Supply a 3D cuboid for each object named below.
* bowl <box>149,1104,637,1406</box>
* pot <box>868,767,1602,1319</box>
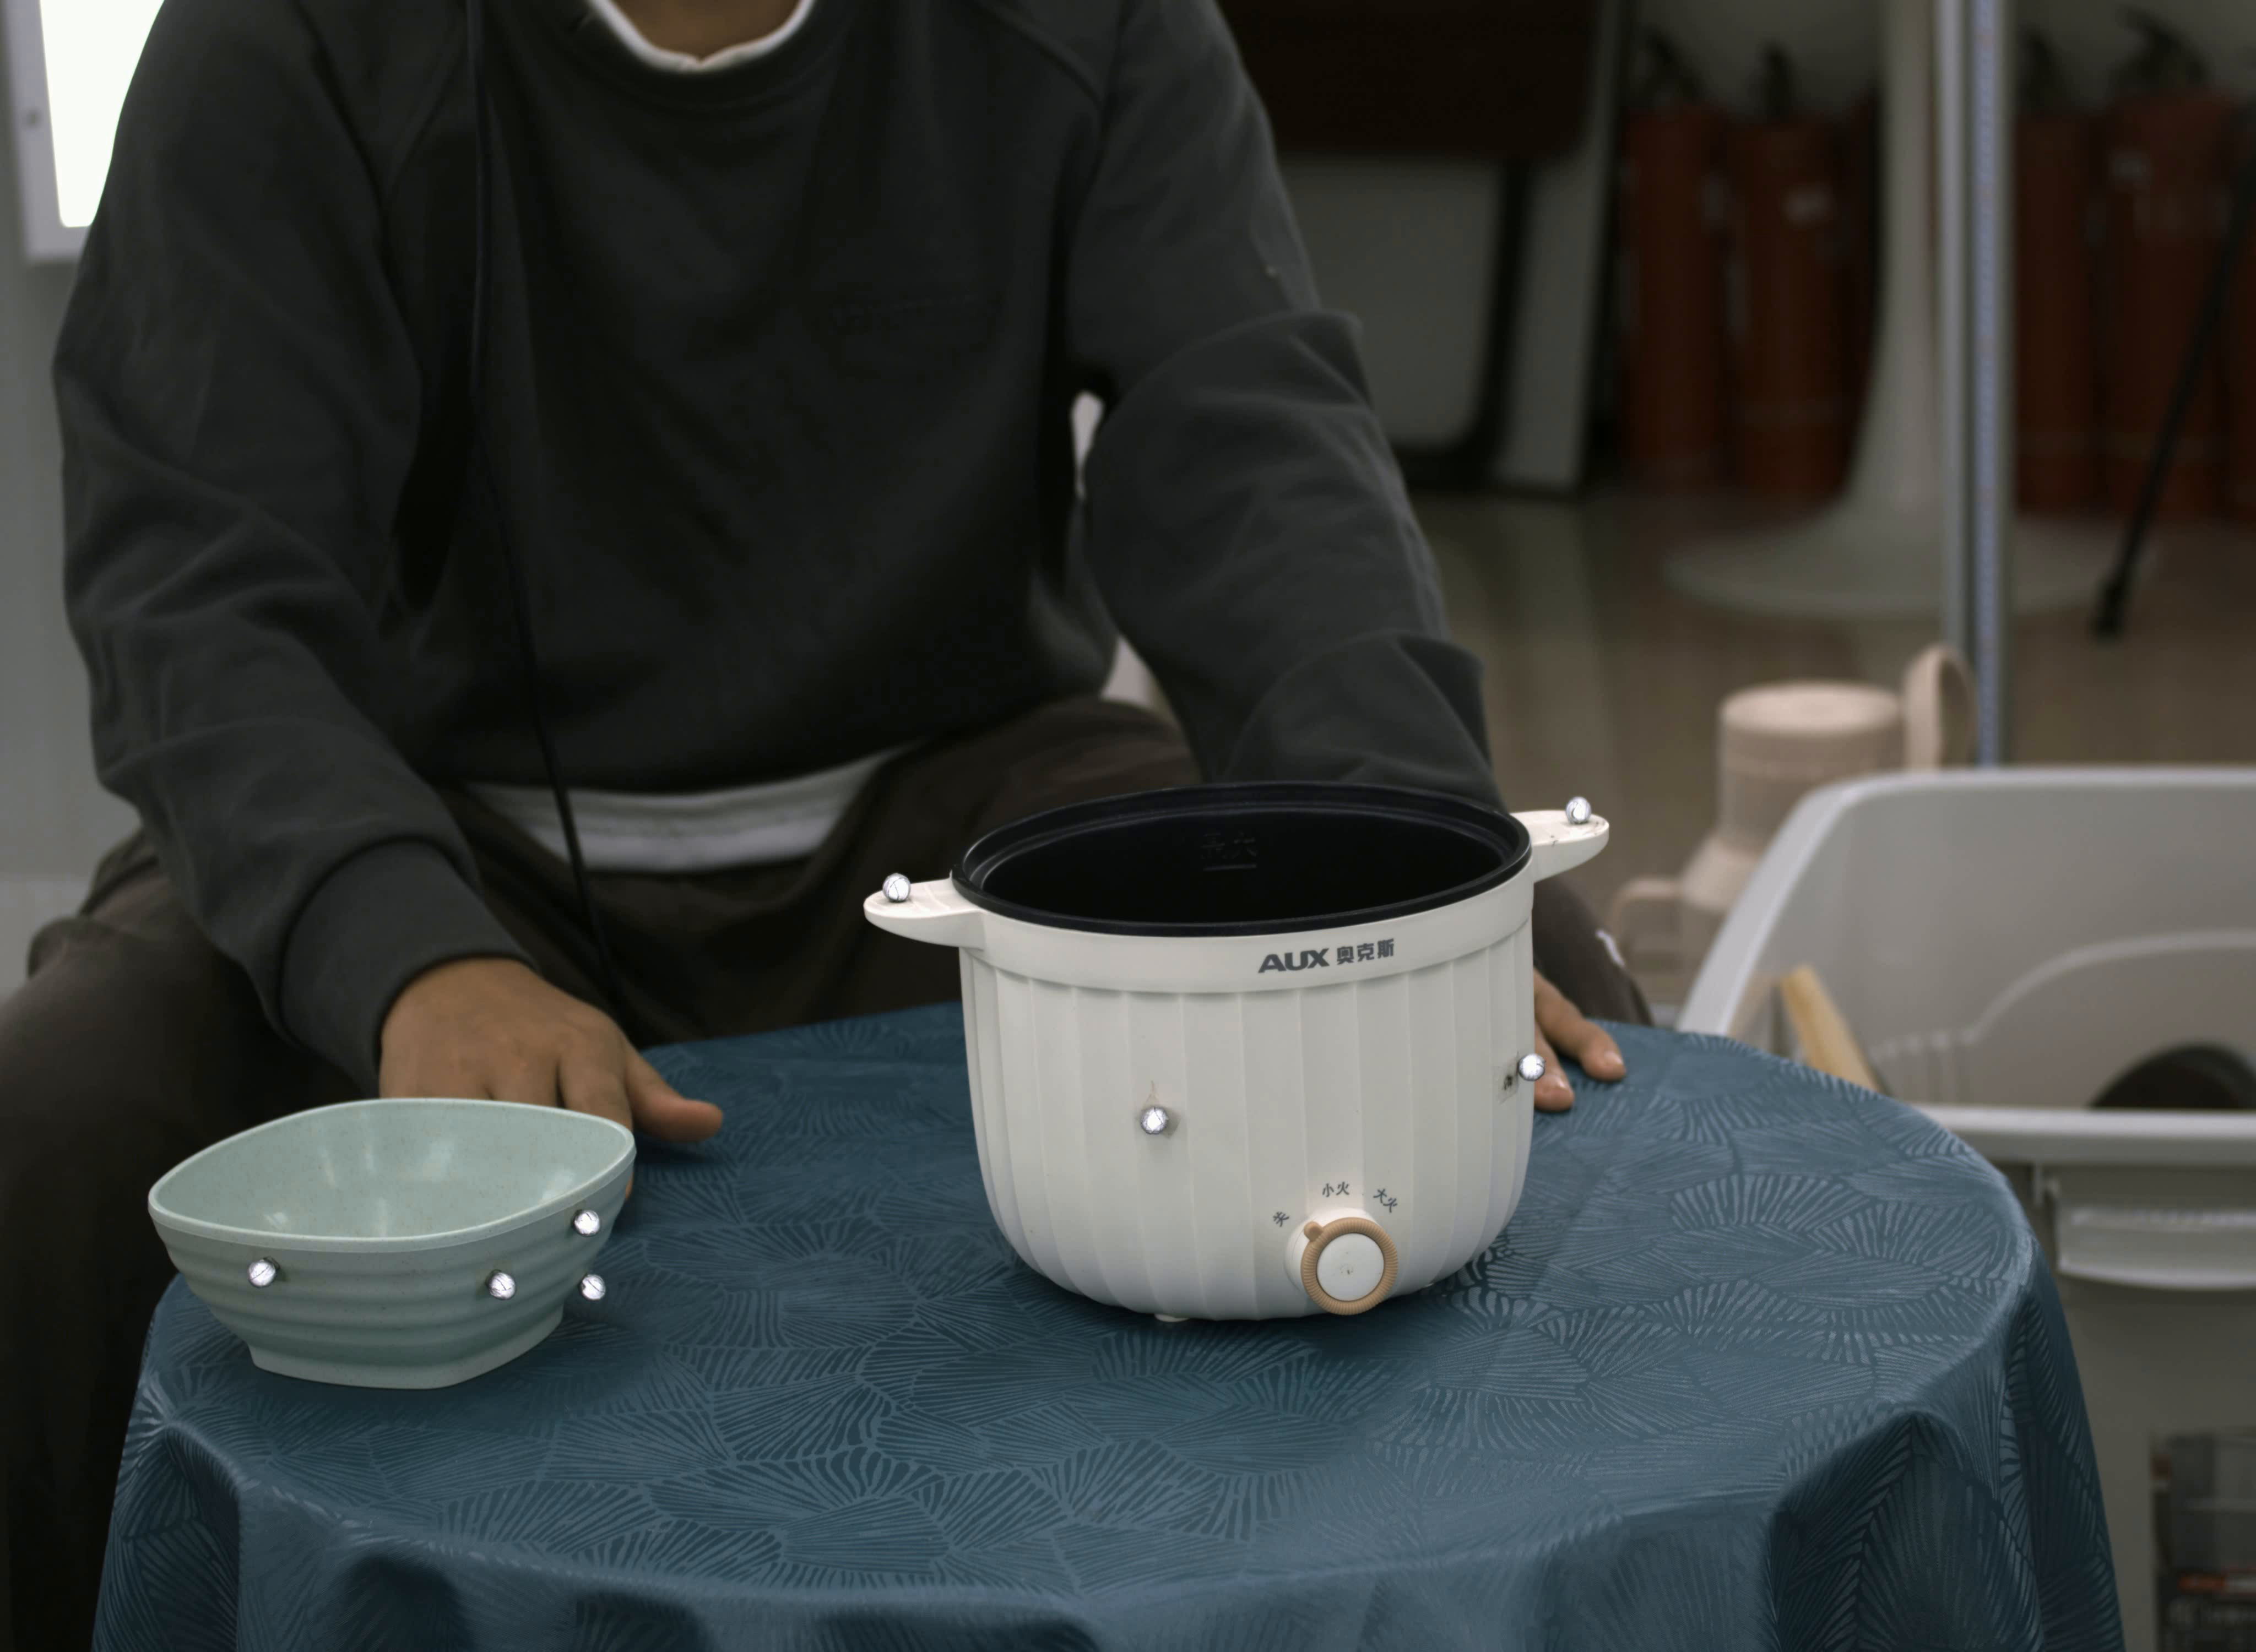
[{"bbox_3d":[-0.223,0.135,1.666,0.149,0.059,0.152,-3,14,0],"label":"bowl"},{"bbox_3d":[0.042,0.070,1.675,0.236,0.144,0.192,-9,11,-14],"label":"pot"}]
